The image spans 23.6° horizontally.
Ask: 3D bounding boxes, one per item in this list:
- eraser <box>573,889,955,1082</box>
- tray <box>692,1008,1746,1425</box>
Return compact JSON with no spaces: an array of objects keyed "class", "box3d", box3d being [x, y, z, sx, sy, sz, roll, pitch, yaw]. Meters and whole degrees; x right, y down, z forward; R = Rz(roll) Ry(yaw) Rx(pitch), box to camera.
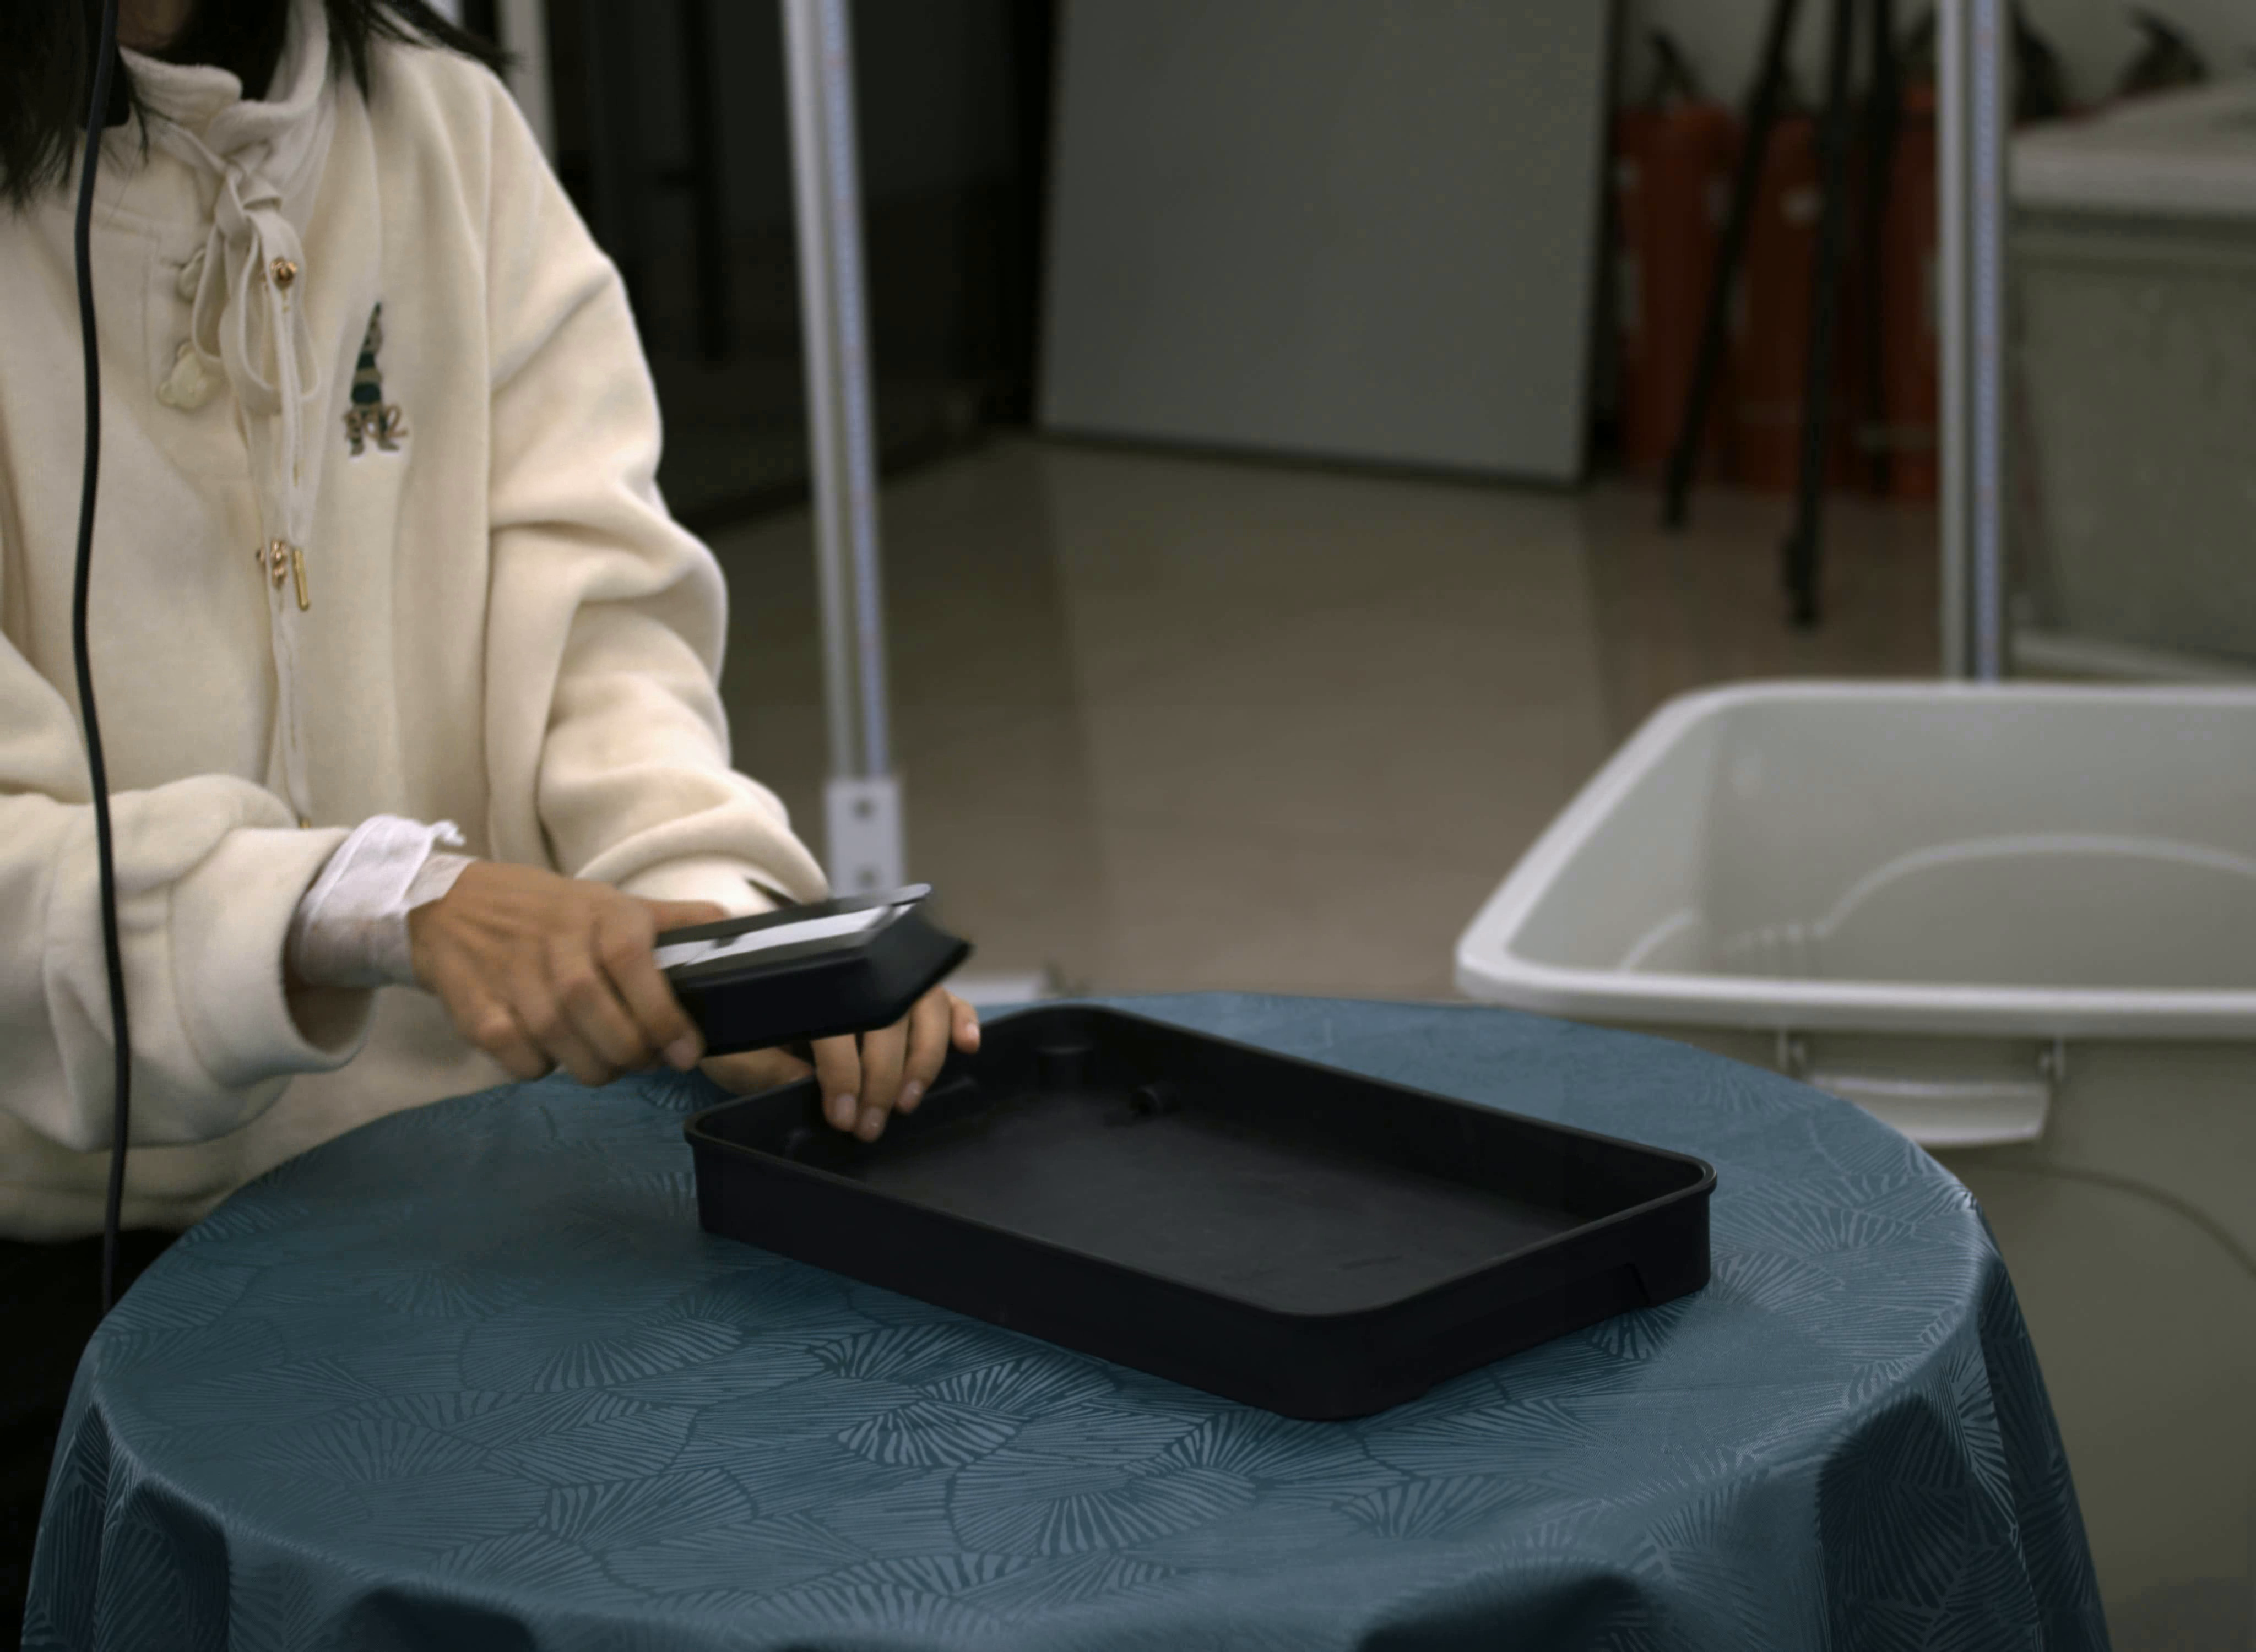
[{"class":"eraser","box3d":[-0.116,0.051,1.727,0.126,0.030,0.053,-13,17,39]},{"class":"tray","box3d":[0.025,0.118,1.697,0.180,0.037,0.321,-16,19,-42]}]
